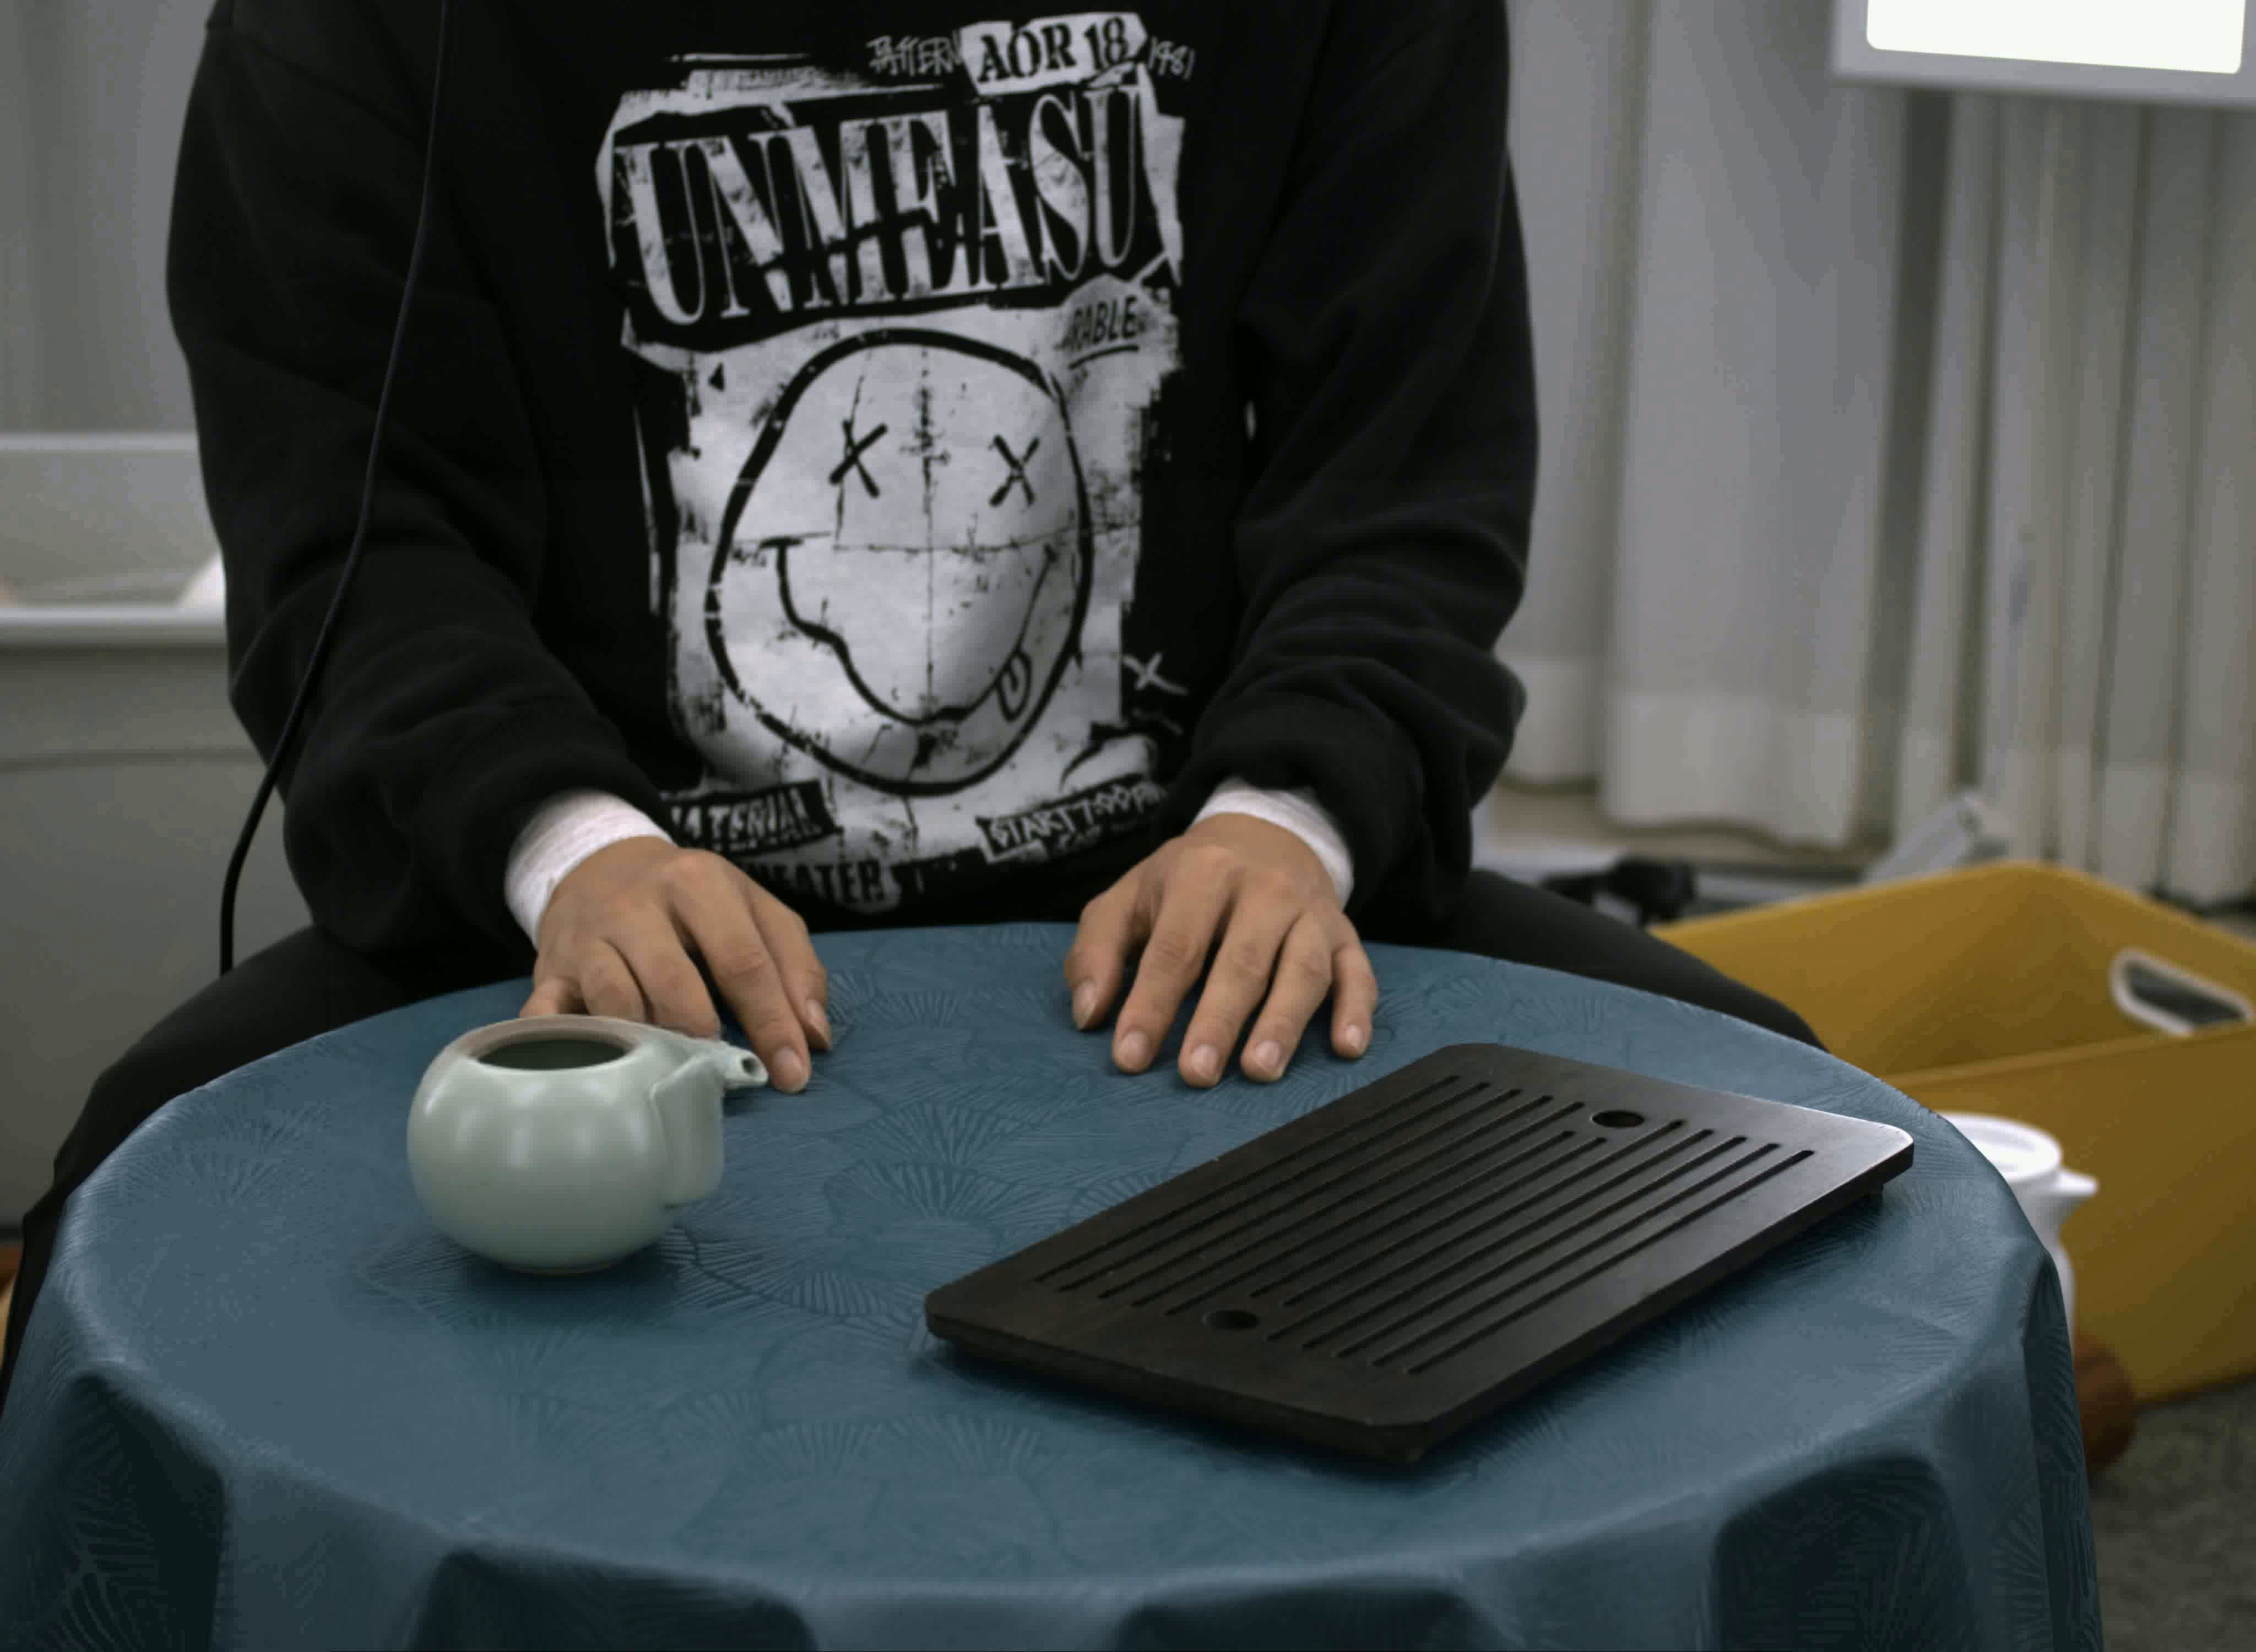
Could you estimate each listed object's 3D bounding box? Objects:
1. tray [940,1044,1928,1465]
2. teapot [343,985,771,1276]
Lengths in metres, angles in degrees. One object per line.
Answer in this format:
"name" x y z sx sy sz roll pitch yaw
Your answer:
"tray" 0.097 0.122 1.555 0.168 0.019 0.307 11 18 33
"teapot" -0.169 0.091 1.556 0.142 0.075 0.088 10 18 25
